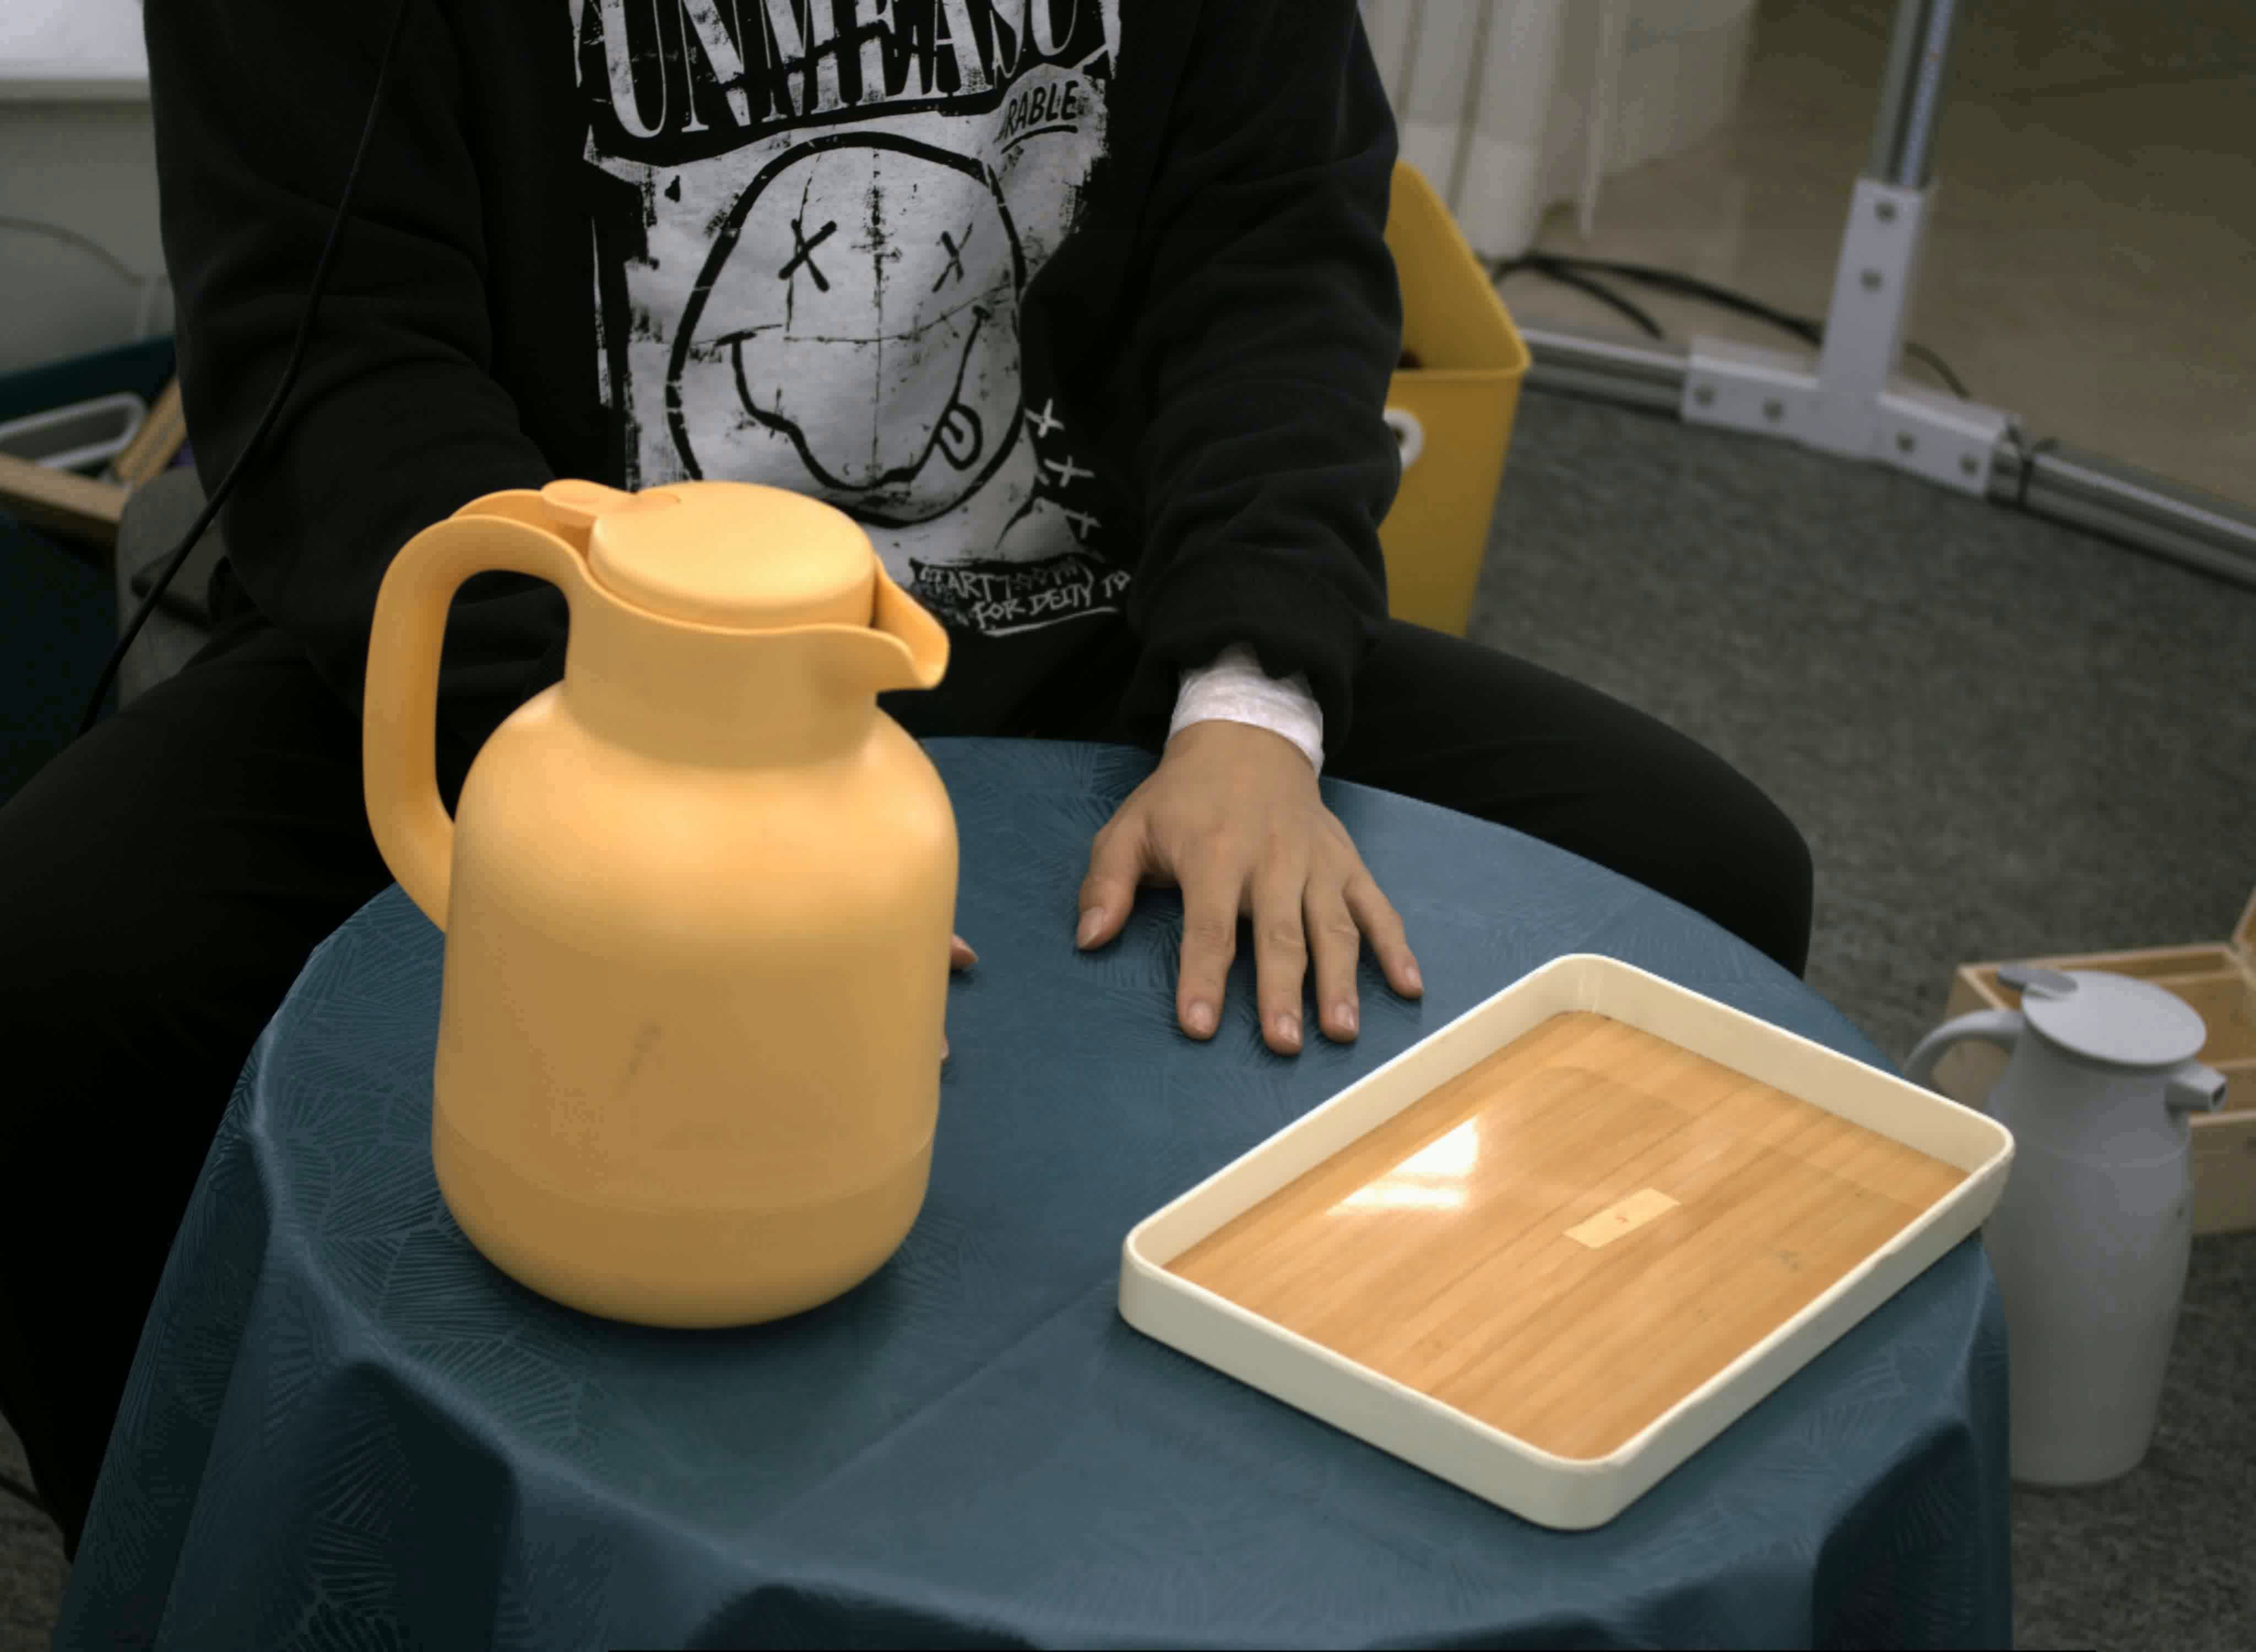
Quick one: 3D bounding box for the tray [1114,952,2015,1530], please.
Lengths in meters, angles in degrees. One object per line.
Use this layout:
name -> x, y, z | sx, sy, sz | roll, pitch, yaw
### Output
tray -> 0.151, 0.133, 1.791 | 0.193, 0.027, 0.299 | 23, 31, 29

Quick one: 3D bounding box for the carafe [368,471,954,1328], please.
carafe -> -0.153, 0.013, 1.701 | 0.203, 0.260, 0.163 | 20, 27, 22
